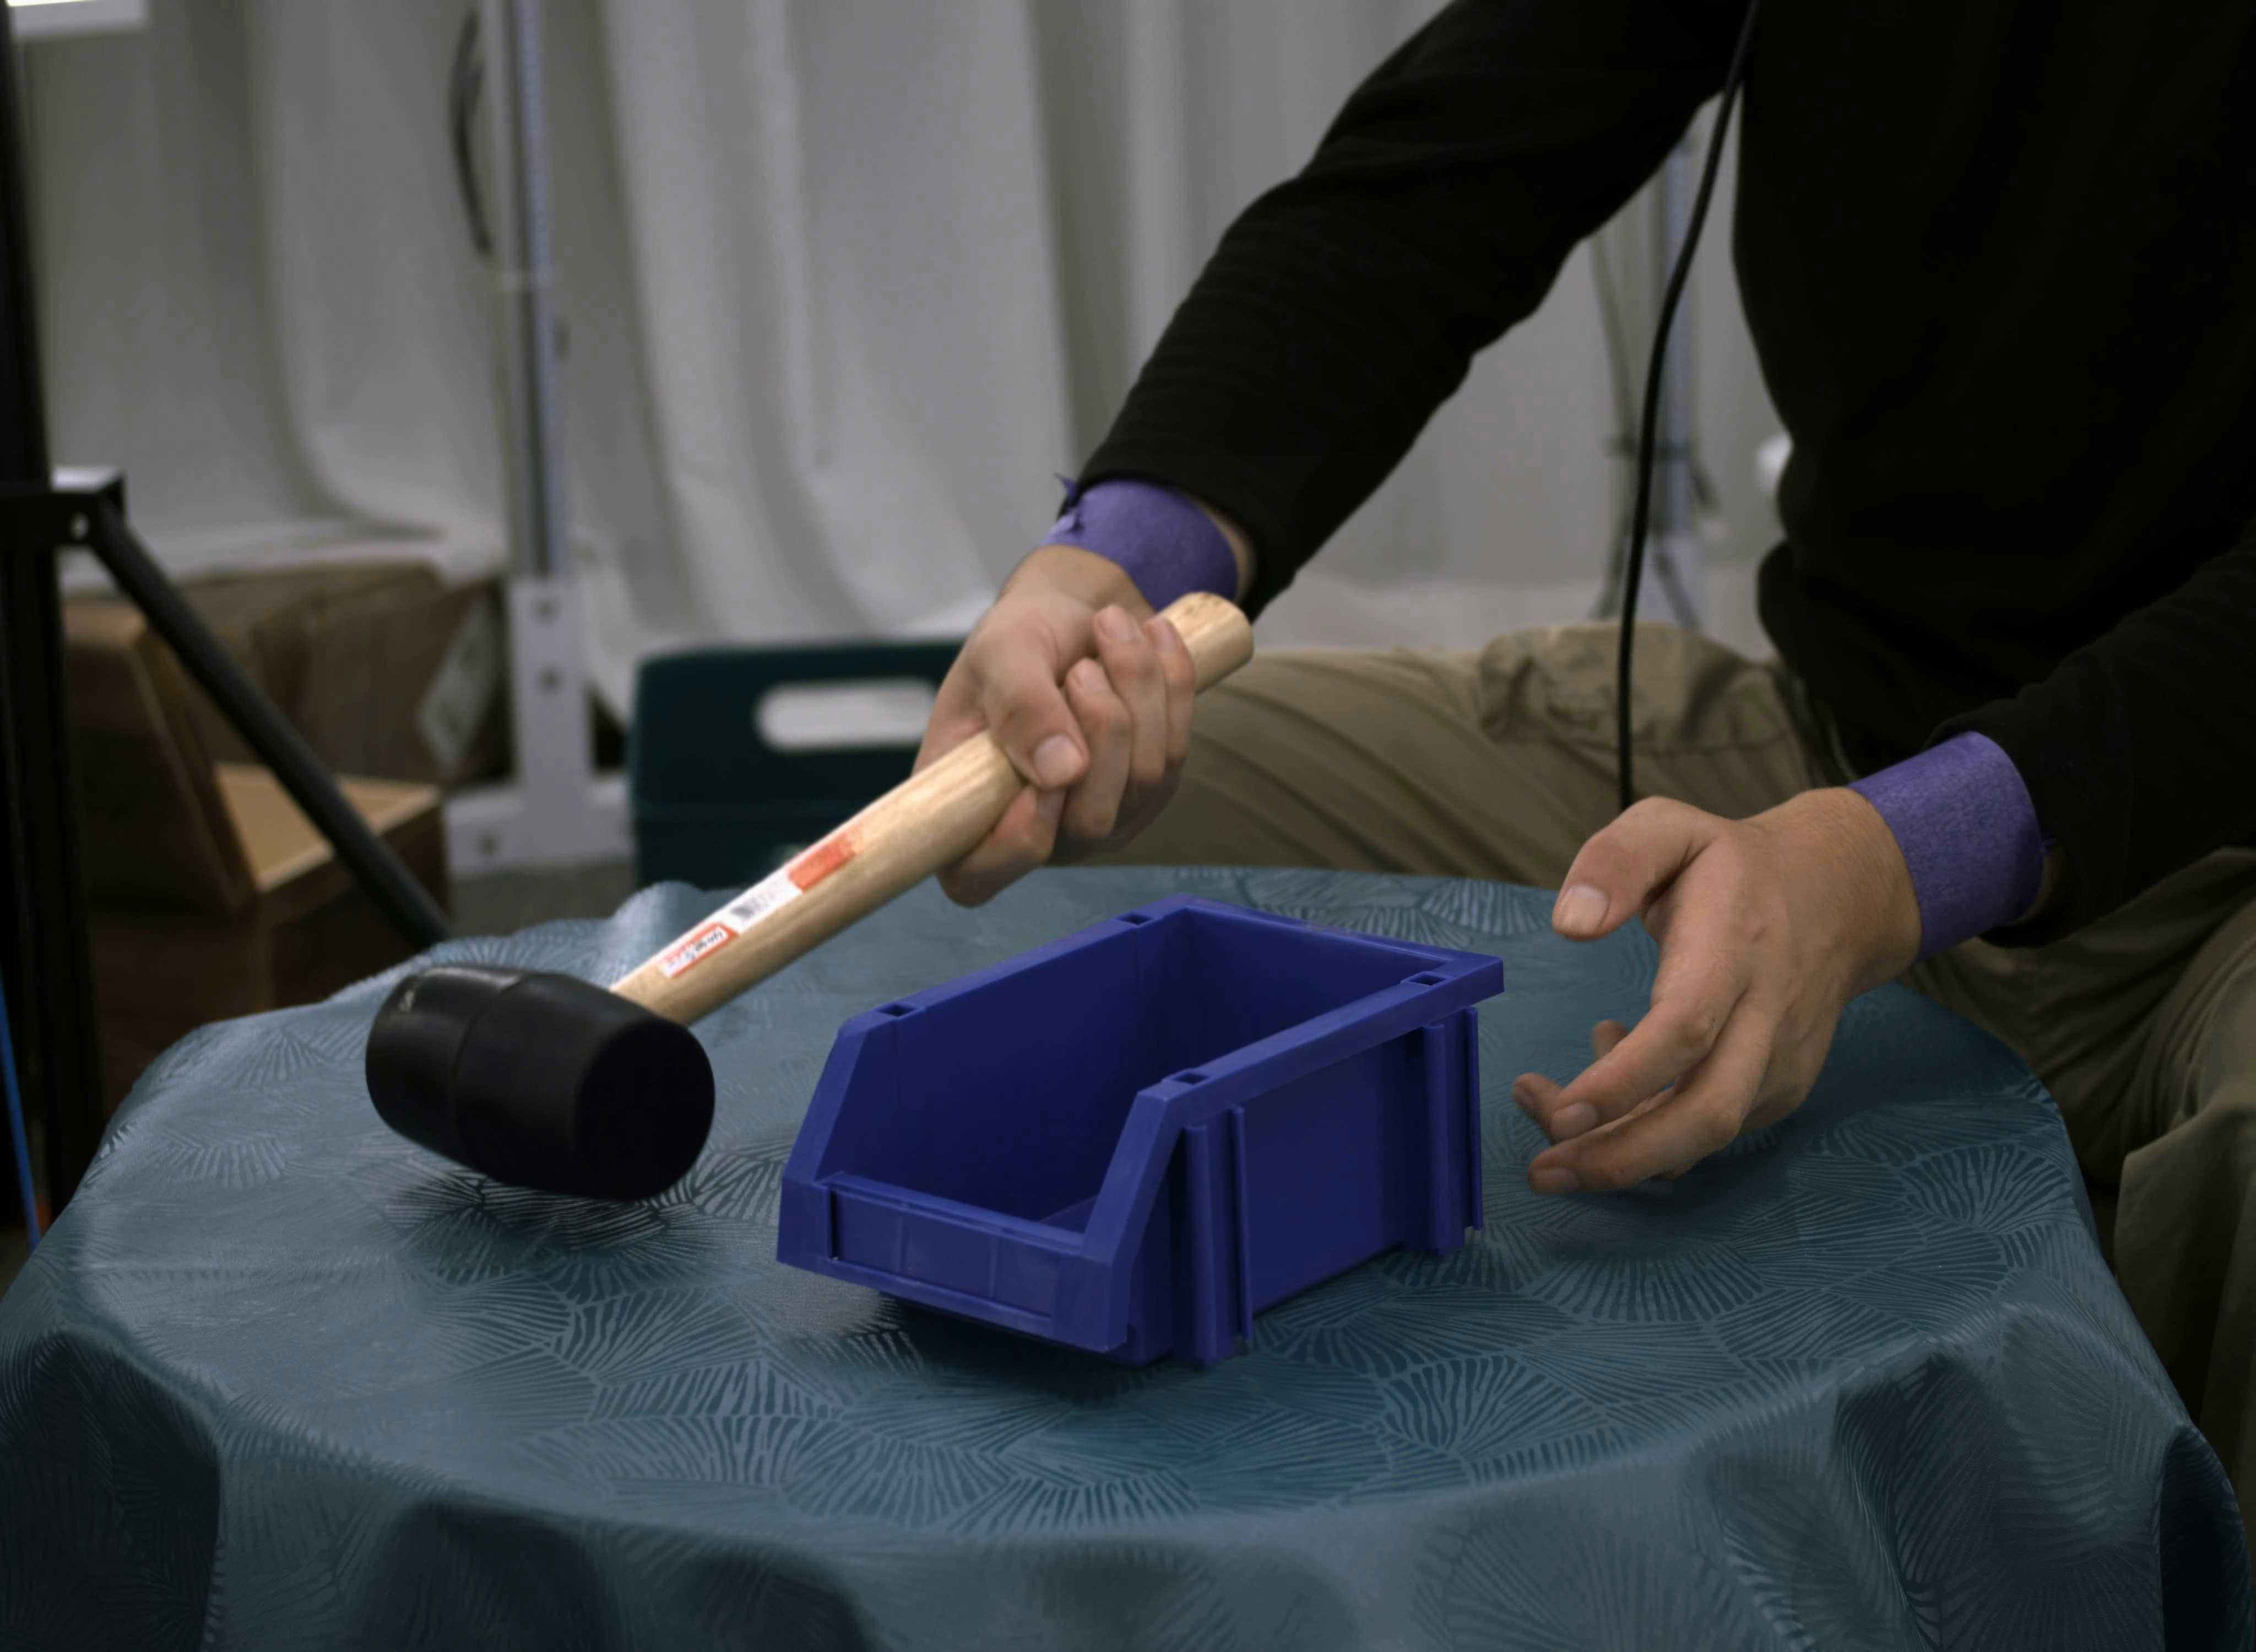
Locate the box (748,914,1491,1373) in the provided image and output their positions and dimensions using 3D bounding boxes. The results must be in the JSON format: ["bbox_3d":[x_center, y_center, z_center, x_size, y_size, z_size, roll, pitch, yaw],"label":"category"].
[{"bbox_3d":[0.001,0.090,1.471,0.127,0.082,0.175,12,18,41],"label":"box"}]

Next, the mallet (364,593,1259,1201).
[{"bbox_3d":[-0.083,0.004,1.638,0.104,0.064,0.334,15,41,43],"label":"mallet"}]
